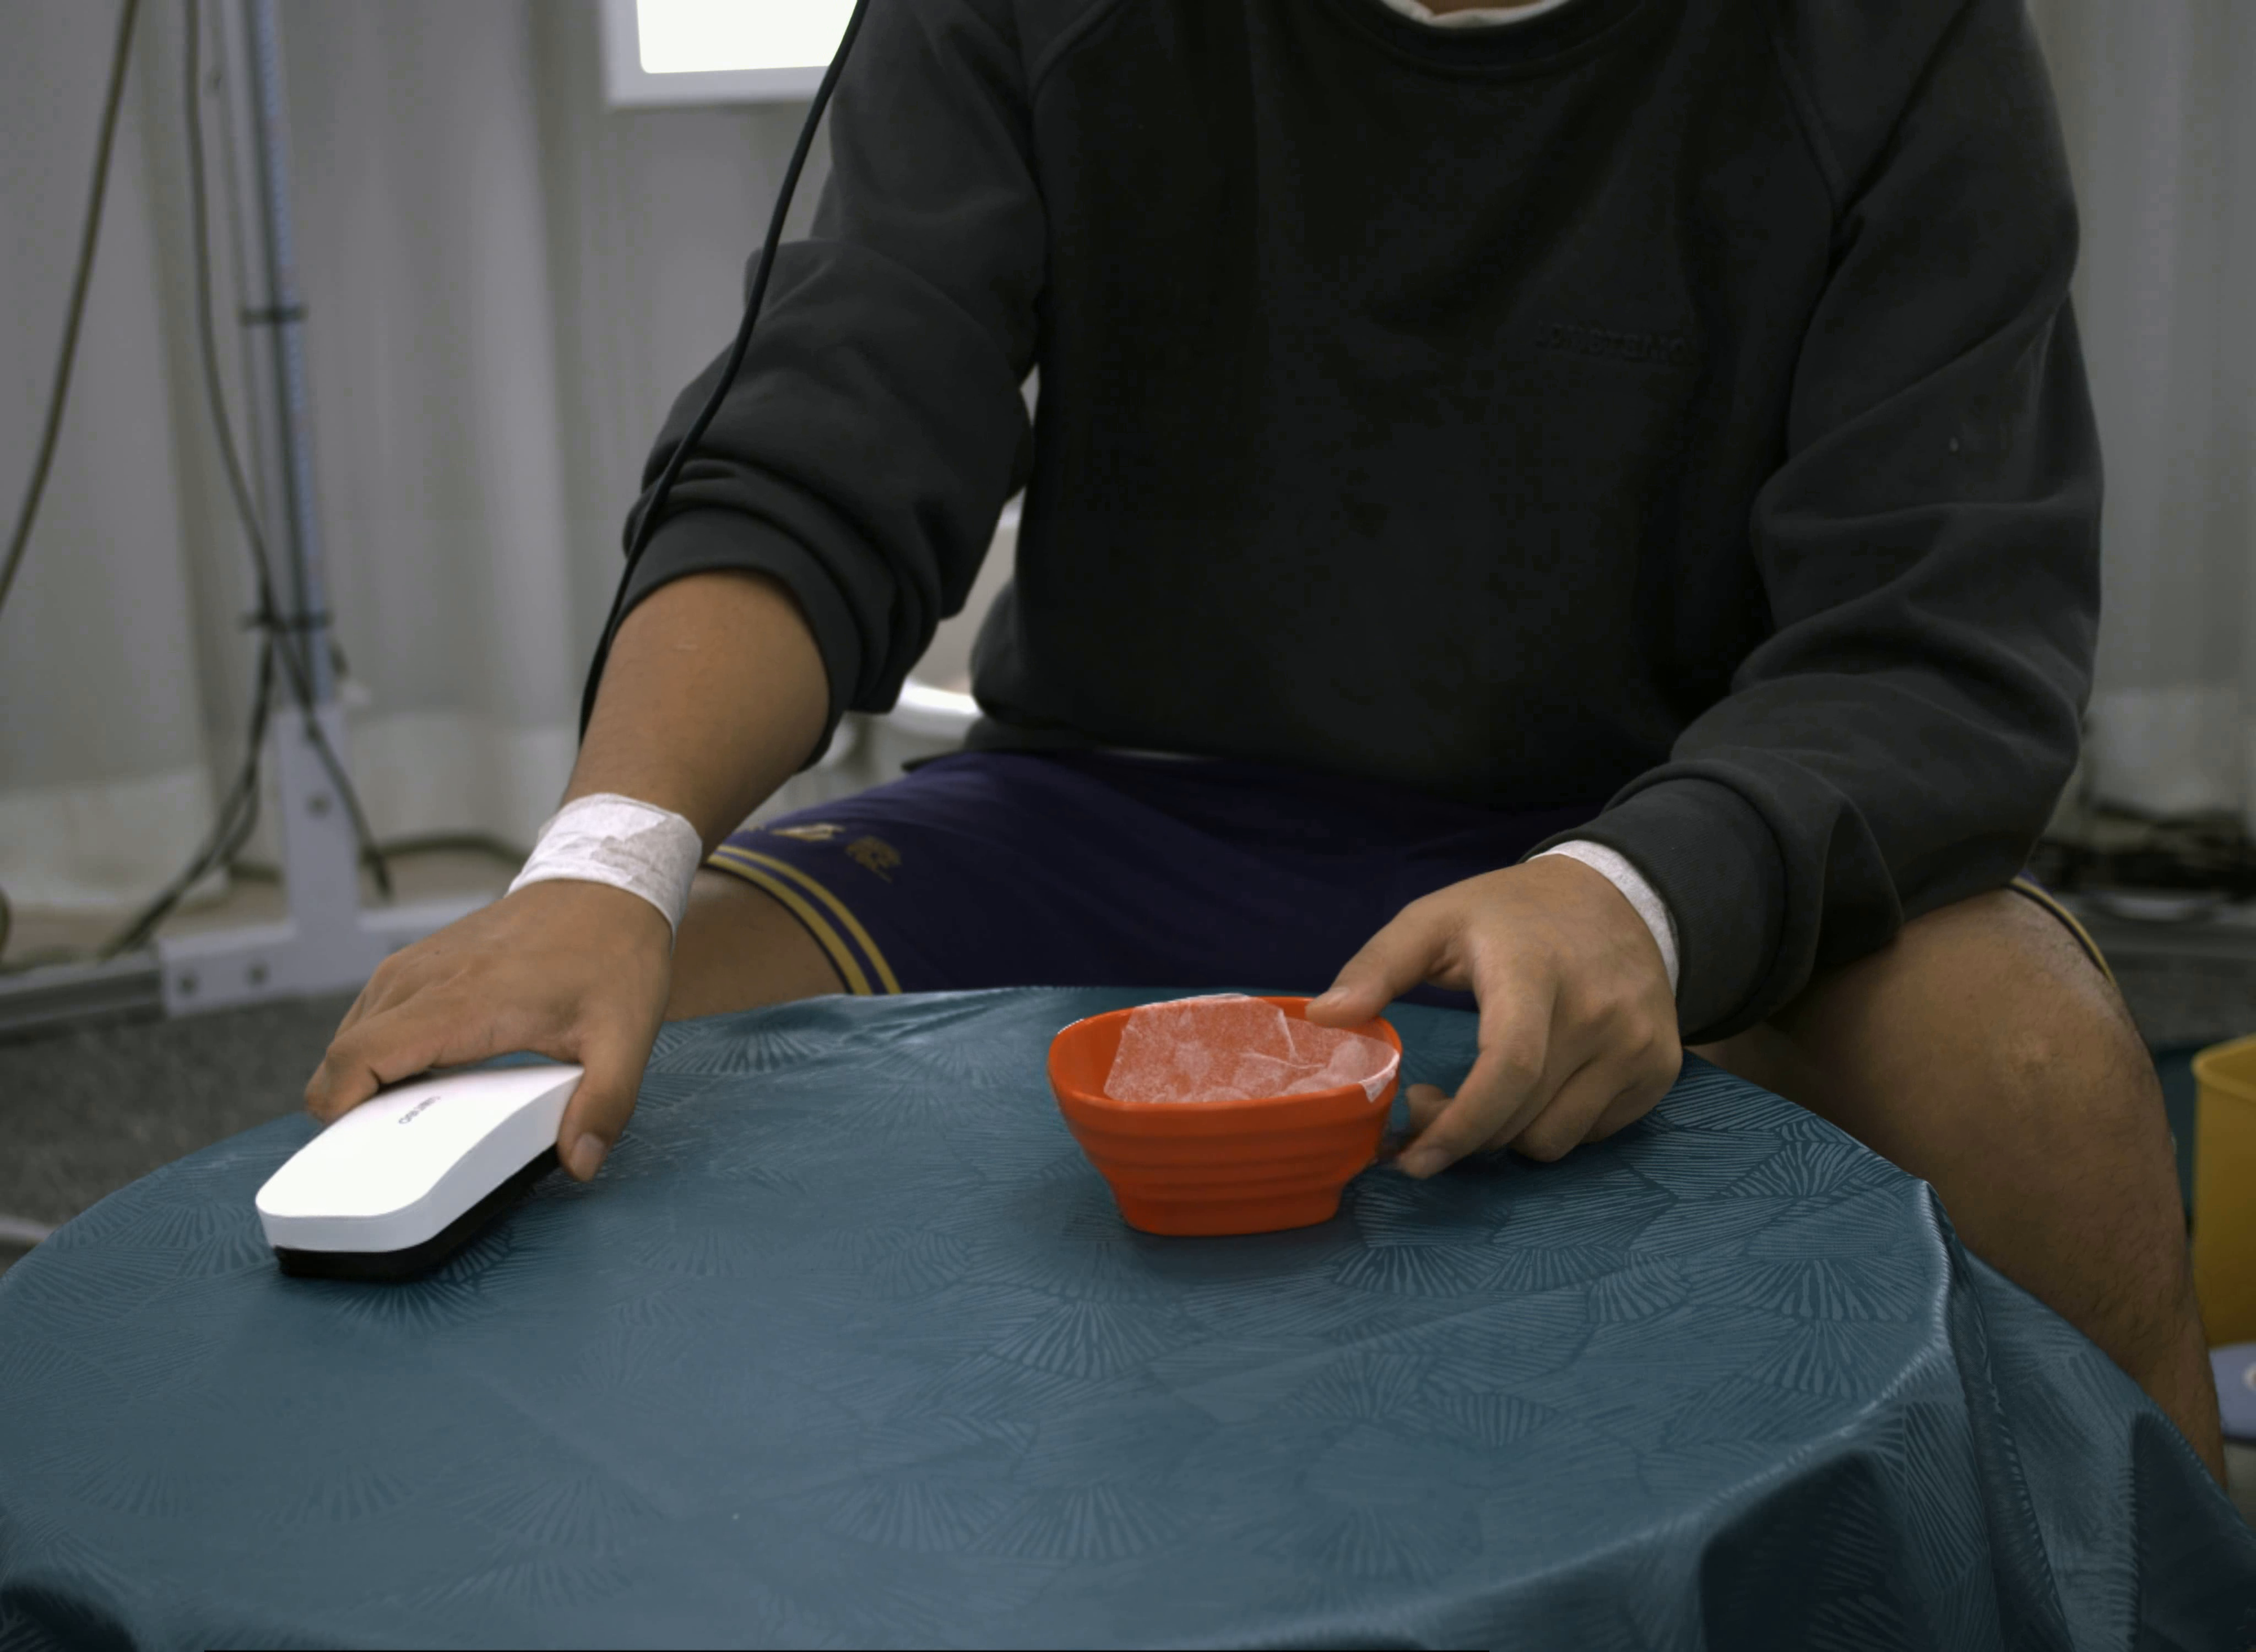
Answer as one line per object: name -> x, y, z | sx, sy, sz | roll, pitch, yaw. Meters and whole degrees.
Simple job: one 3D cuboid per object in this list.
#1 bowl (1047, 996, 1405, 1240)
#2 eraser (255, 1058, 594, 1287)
bowl -> 0.031, 0.093, 1.695 | 0.118, 0.051, 0.120 | -4, 15, 1
eraser -> -0.217, 0.105, 1.719 | 0.063, 0.034, 0.132 | 1, 20, 24
